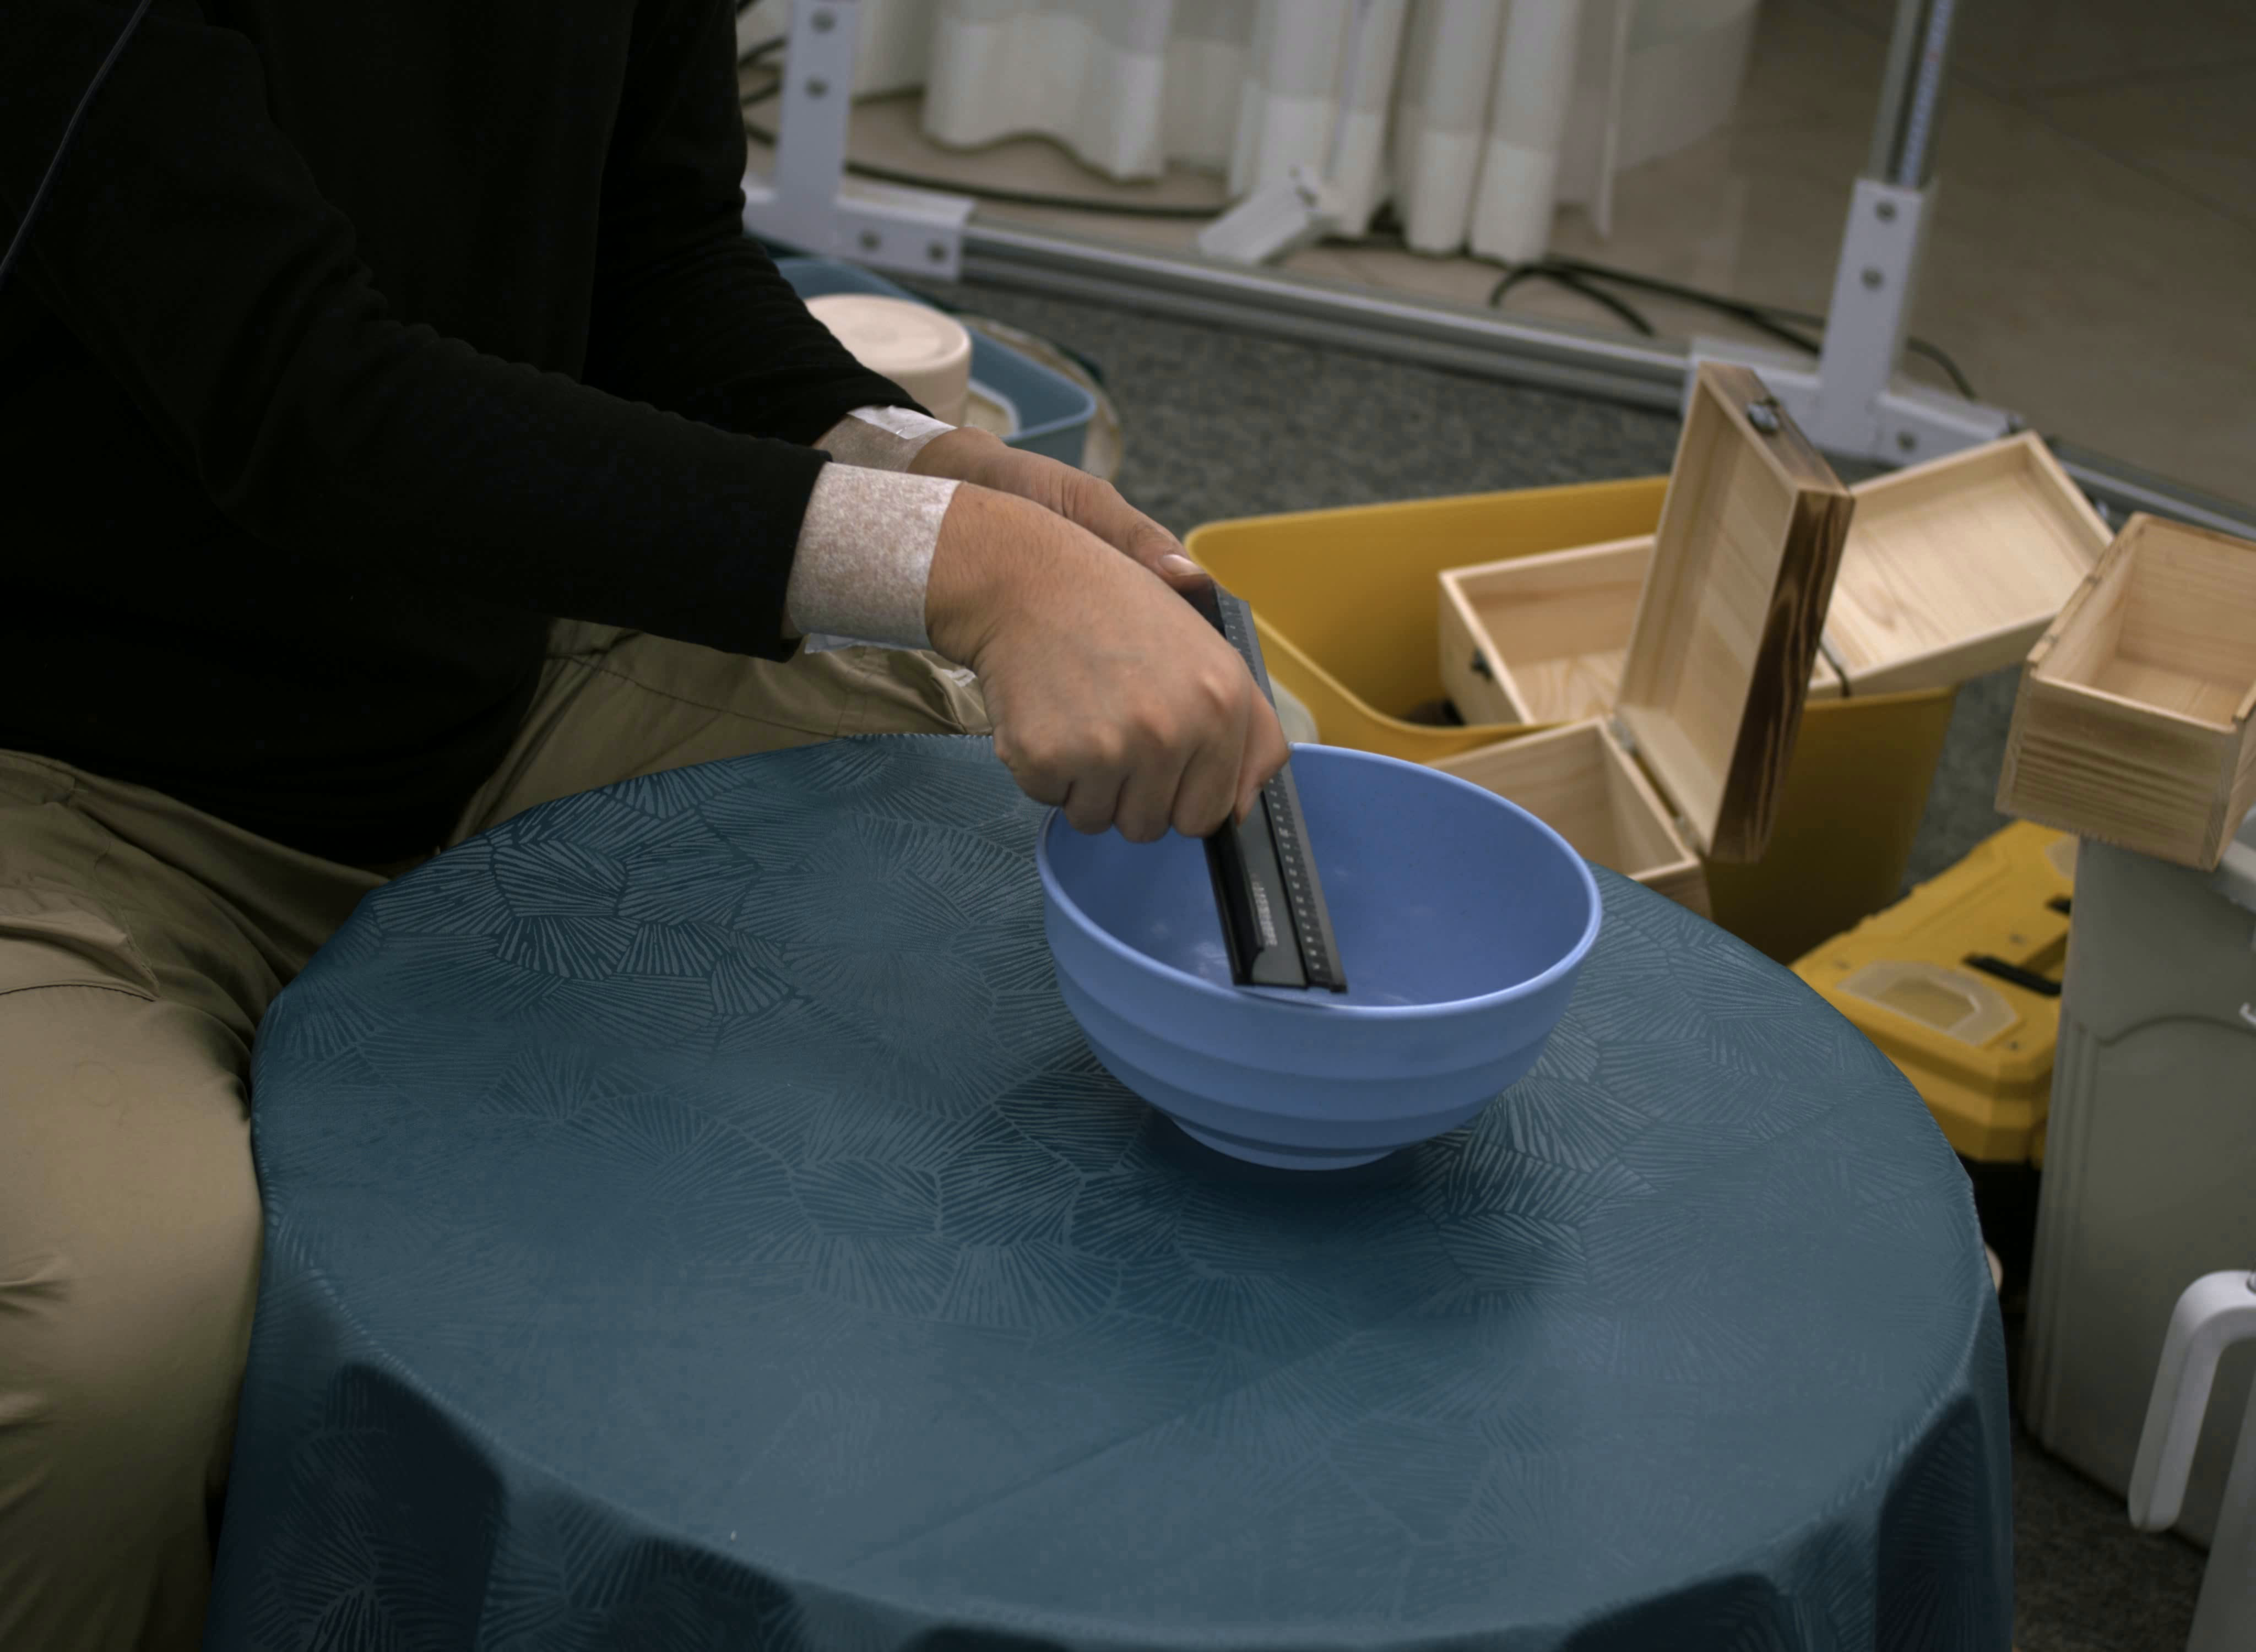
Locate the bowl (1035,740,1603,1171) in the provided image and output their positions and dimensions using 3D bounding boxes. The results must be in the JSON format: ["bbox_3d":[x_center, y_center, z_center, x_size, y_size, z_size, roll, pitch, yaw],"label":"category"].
[{"bbox_3d":[0.060,0.056,1.843,0.196,0.095,0.197,6,27,-3],"label":"bowl"}]

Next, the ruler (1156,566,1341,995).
[{"bbox_3d":[0.042,-0.021,1.860,0.039,0.017,0.314,8,25,-9],"label":"ruler"}]
